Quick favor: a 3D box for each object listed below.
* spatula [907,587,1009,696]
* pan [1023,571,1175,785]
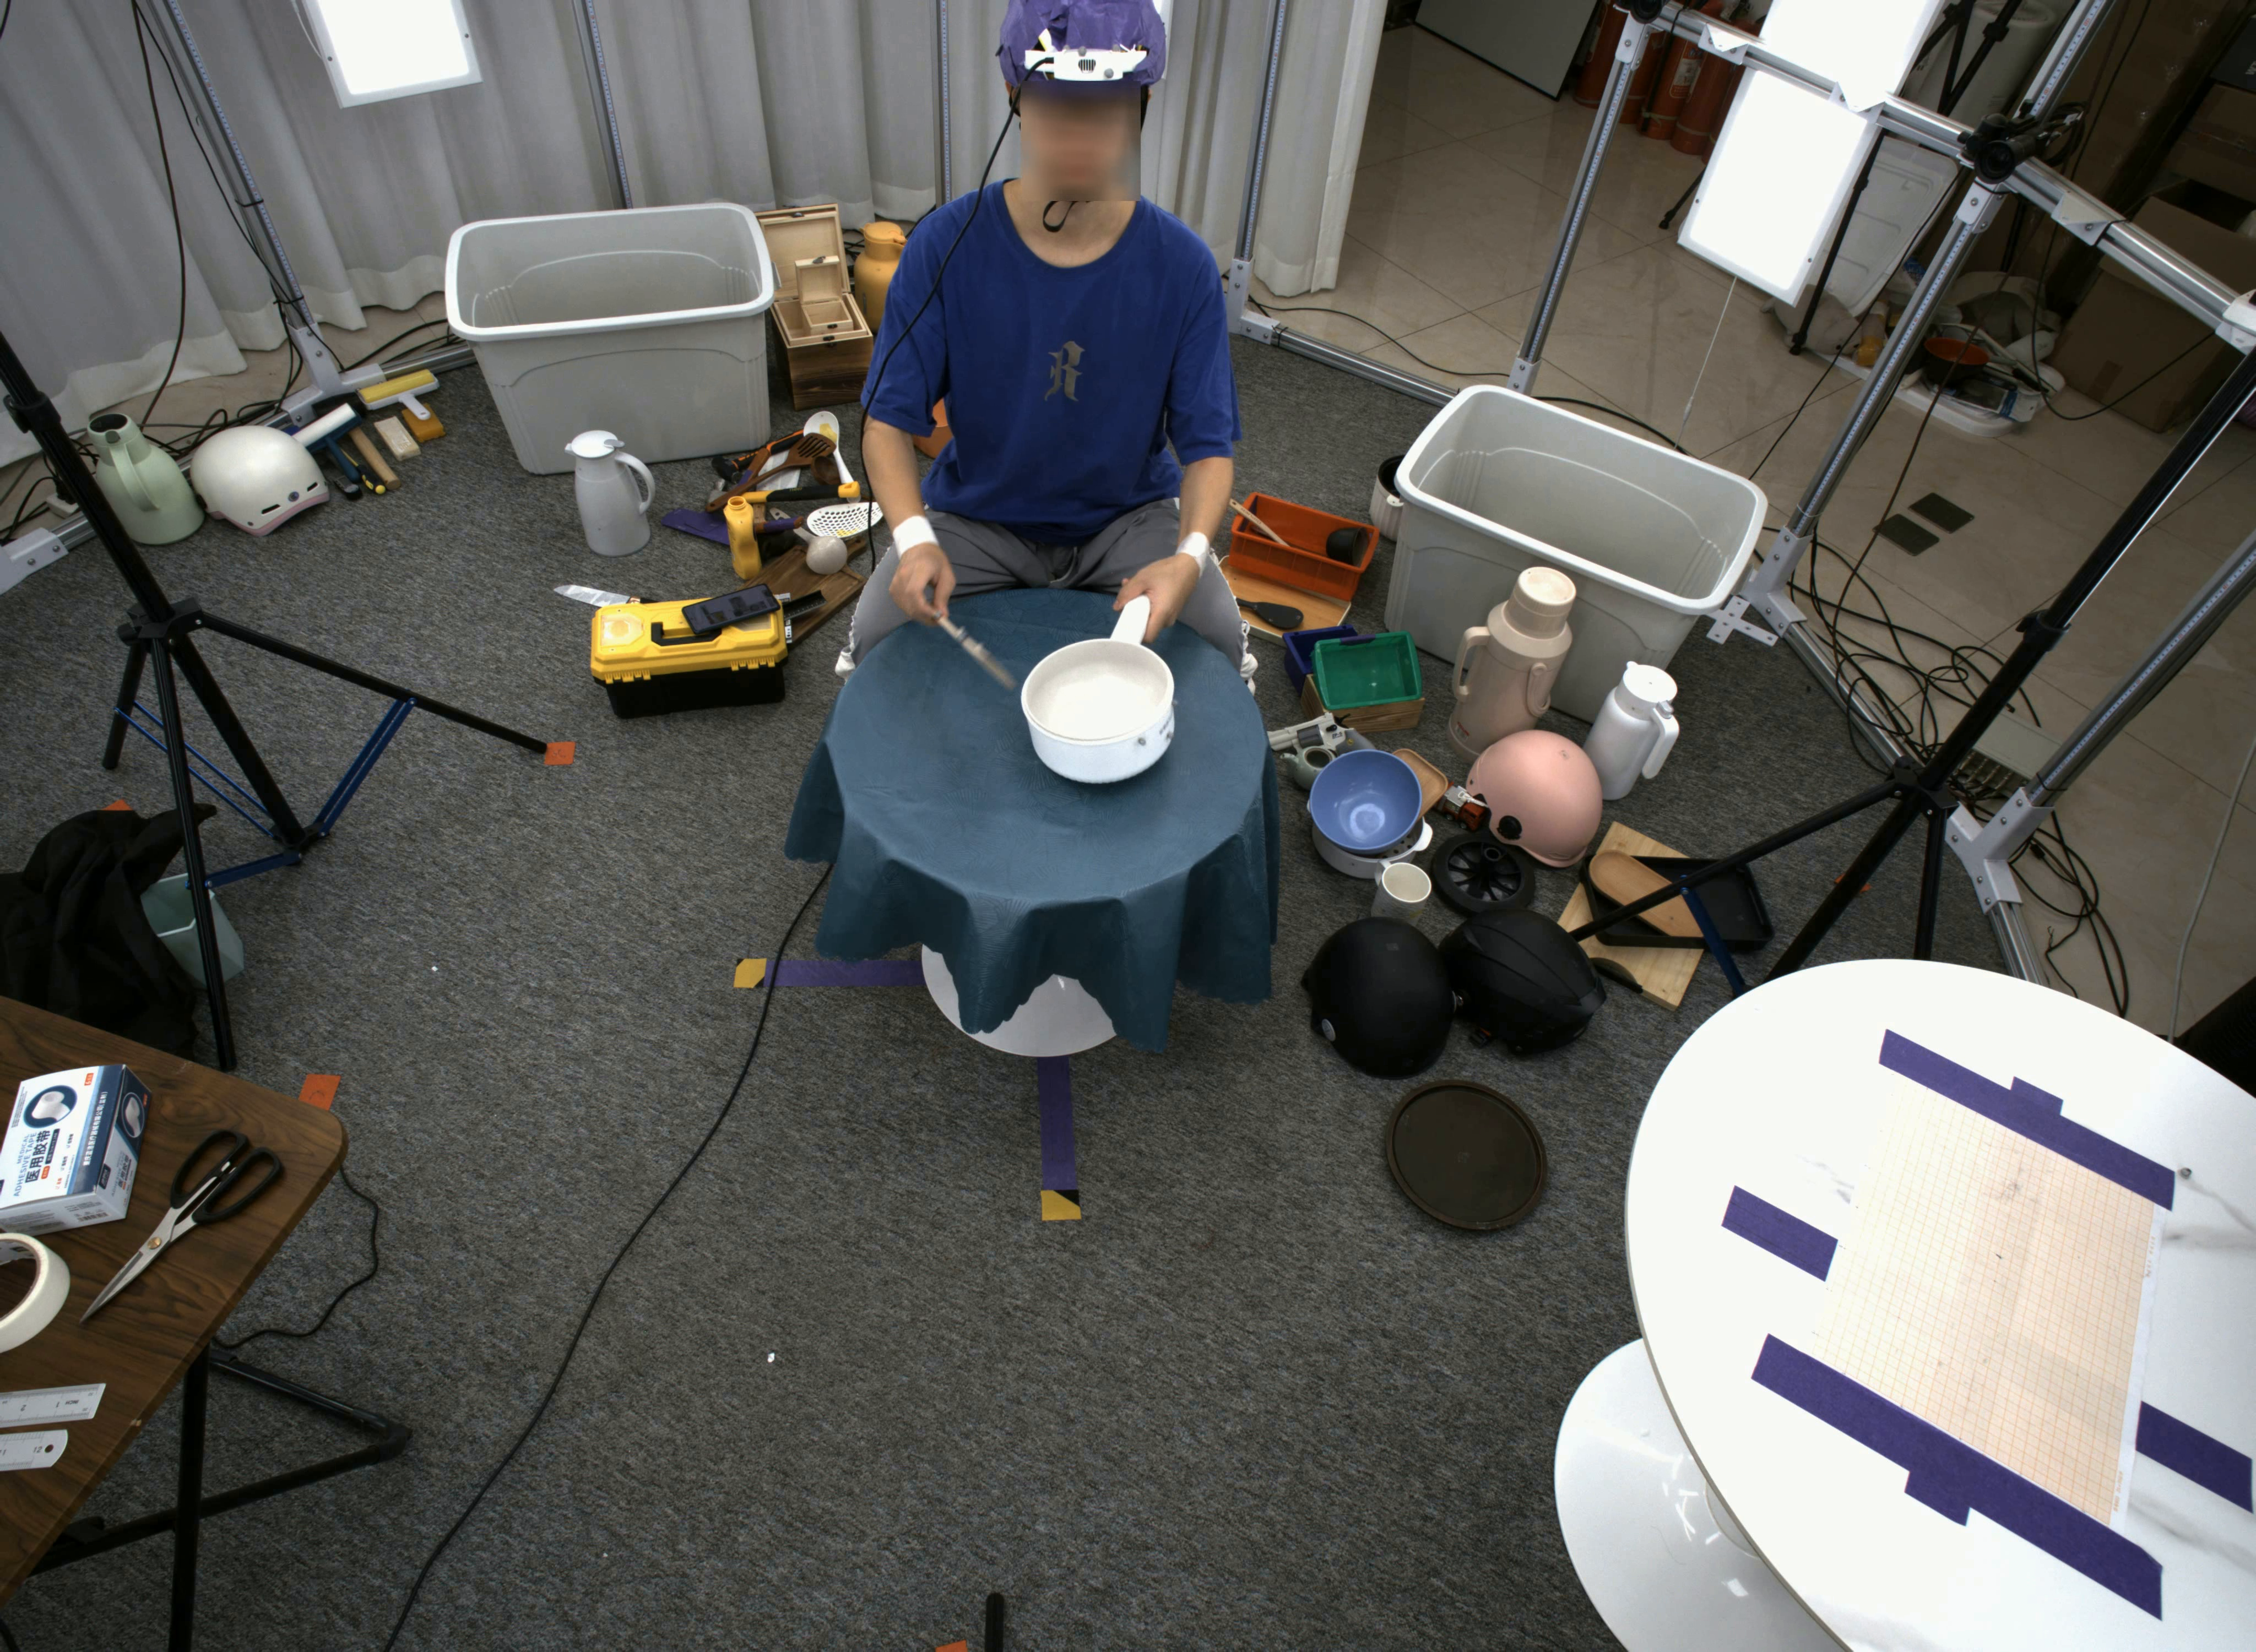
[{"bbox_3d":[-0.240,-0.258,1.729,0.010,0.071,0.299,-46,43,4],"label":"spatula"},{"bbox_3d":[-0.012,-0.205,1.775,0.202,0.099,0.362,9,50,16],"label":"pan"}]
